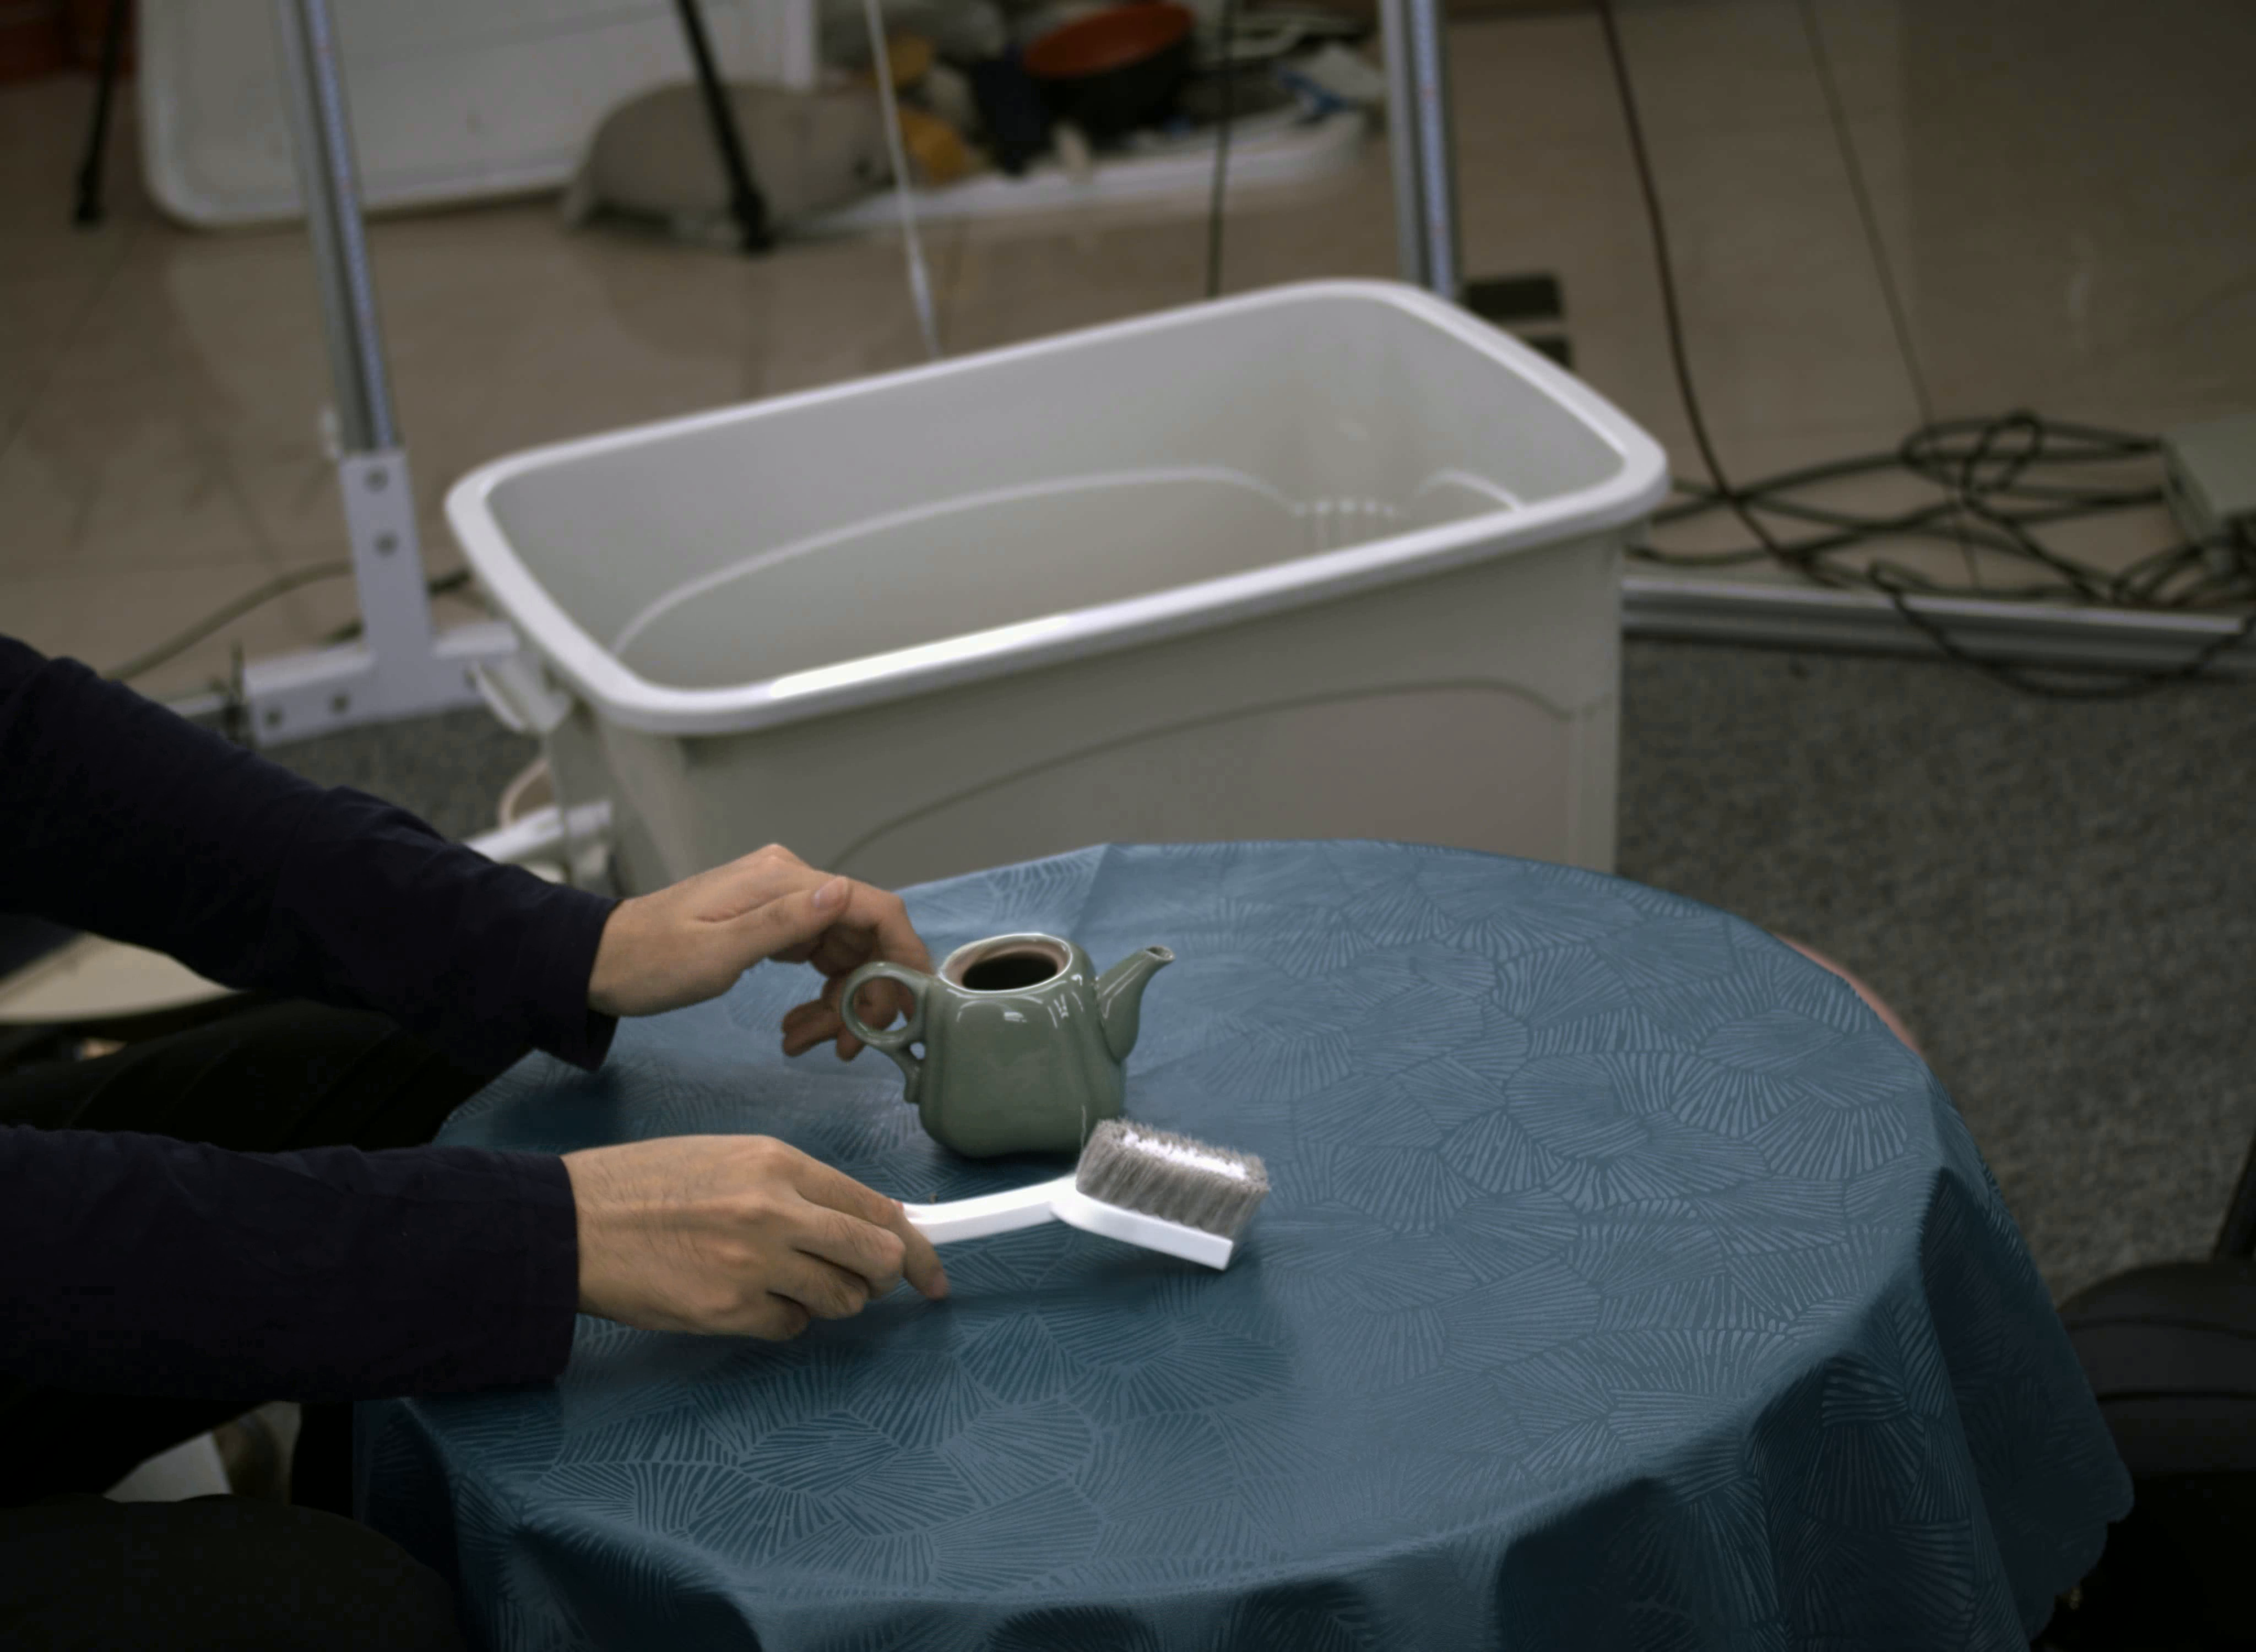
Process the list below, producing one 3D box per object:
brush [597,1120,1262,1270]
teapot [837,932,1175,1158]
[{"bbox_3d":[-0.073,0.132,2.078,0.243,0.051,0.034,2,30,-2],"label":"brush"},{"bbox_3d":[-0.044,0.083,2.192,0.132,0.076,0.078,-5,25,4],"label":"teapot"}]
